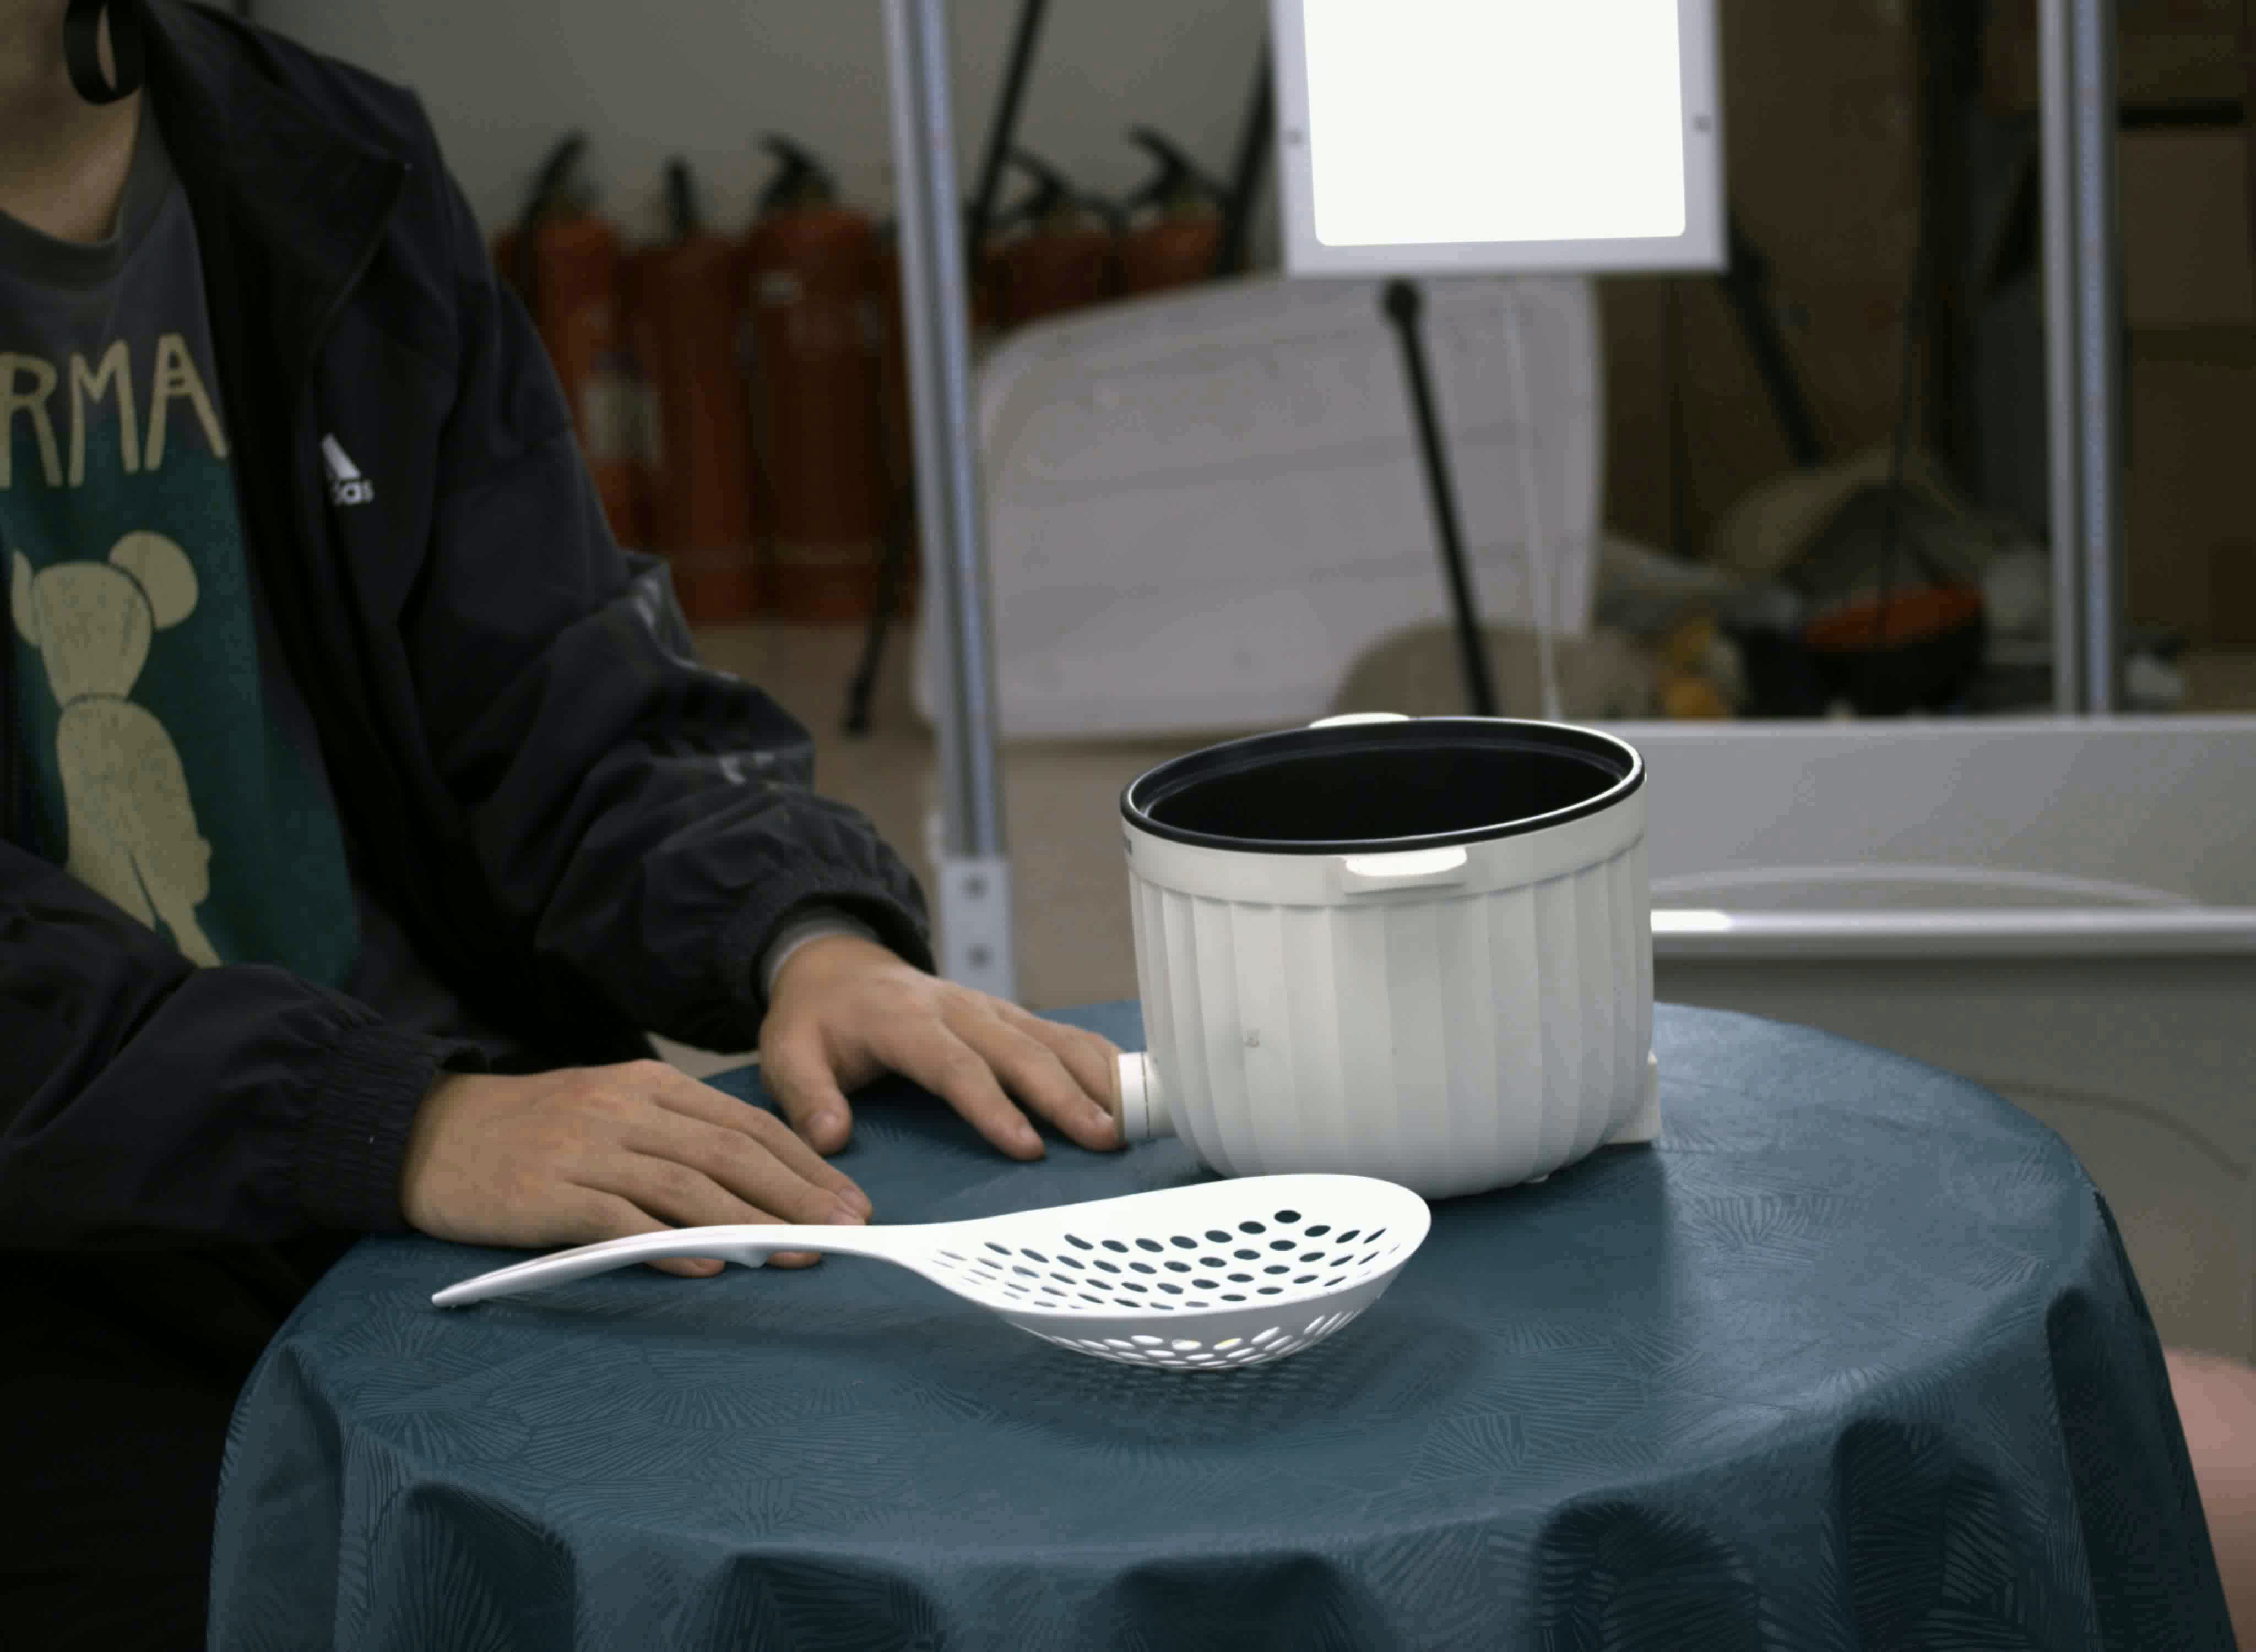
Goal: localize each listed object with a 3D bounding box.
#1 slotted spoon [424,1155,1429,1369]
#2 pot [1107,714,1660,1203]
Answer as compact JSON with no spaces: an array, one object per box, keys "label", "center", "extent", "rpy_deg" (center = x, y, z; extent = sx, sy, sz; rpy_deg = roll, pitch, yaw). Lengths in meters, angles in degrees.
[{"label":"slotted spoon","center":[-0.071,0.143,1.767],"extent":[0.353,0.050,0.134],"rpy_deg":[2,17,25]},{"label":"pot","center":[0.087,0.048,1.894],"extent":[0.190,0.143,0.240],"rpy_deg":[-2,12,-1]}]
